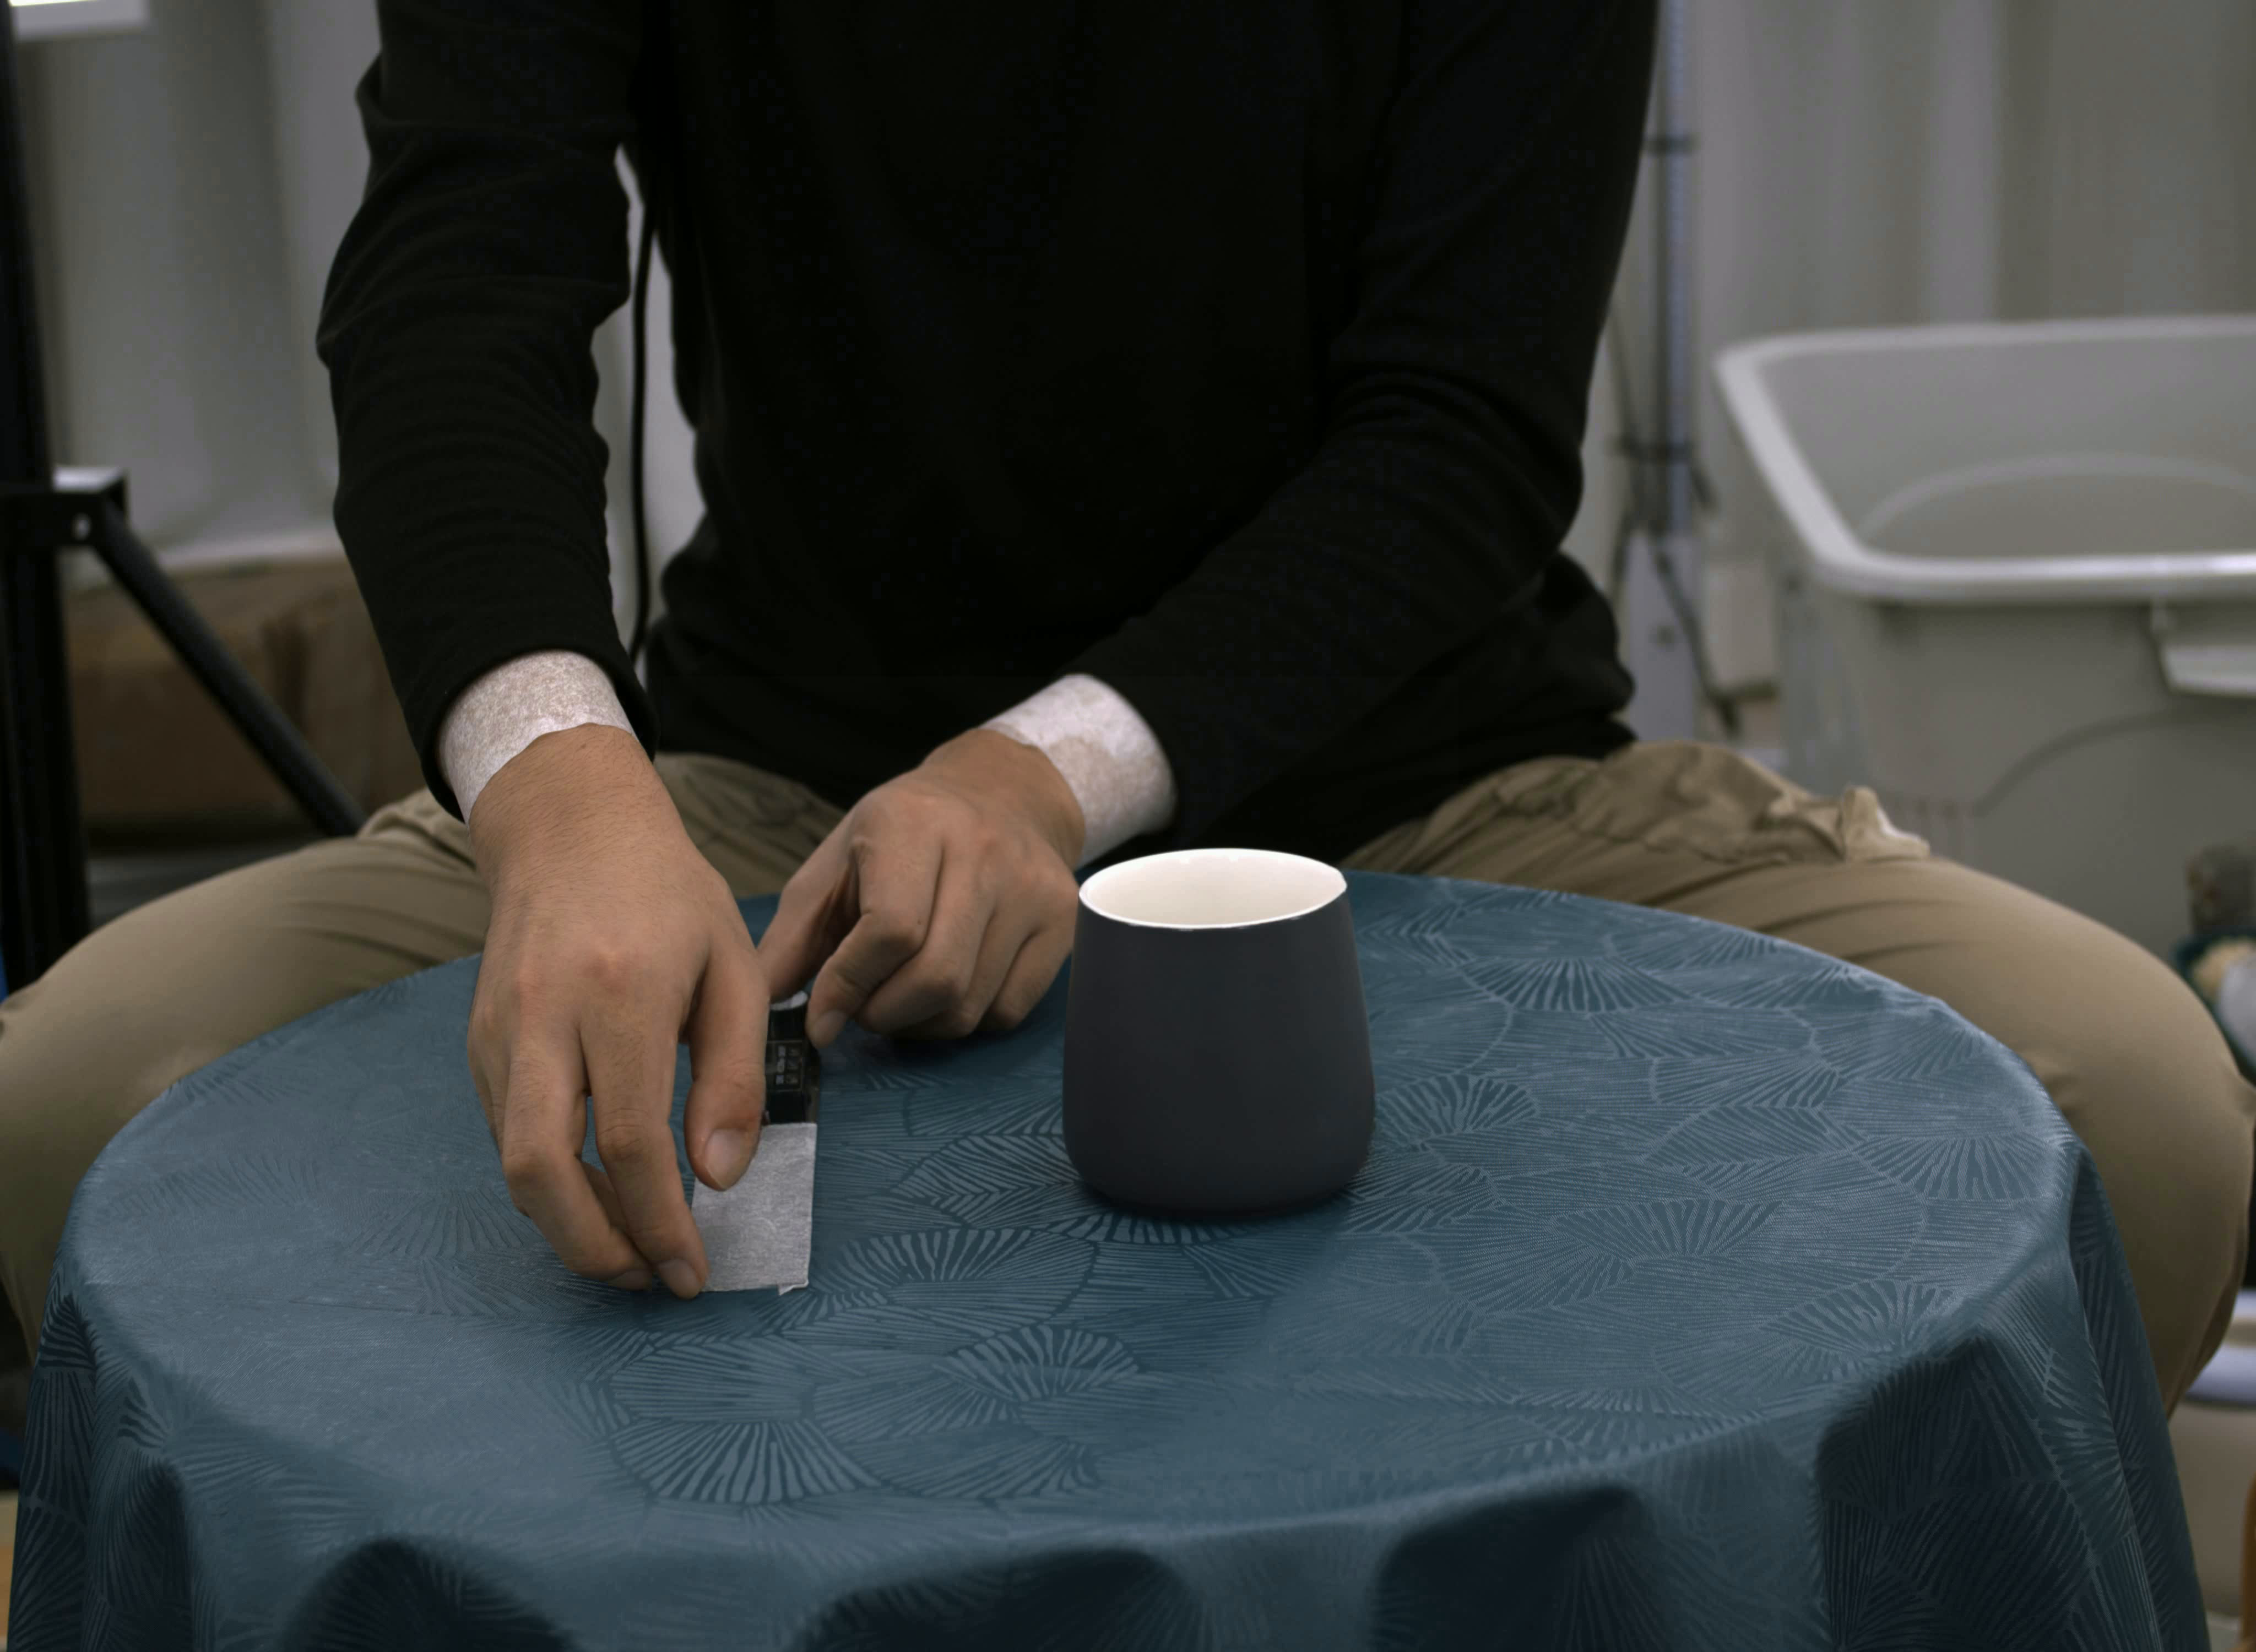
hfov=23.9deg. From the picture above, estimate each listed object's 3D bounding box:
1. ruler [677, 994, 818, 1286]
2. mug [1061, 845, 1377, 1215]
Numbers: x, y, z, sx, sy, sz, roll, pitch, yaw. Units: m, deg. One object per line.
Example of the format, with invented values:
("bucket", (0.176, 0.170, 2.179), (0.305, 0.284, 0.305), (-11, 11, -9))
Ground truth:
("ruler", (-0.113, 0.092, 1.594), (0.038, 0.024, 0.219), (-5, 15, -1))
("mug", (0.028, 0.055, 1.568), (0.093, 0.090, 0.123), (0, 16, 5))
